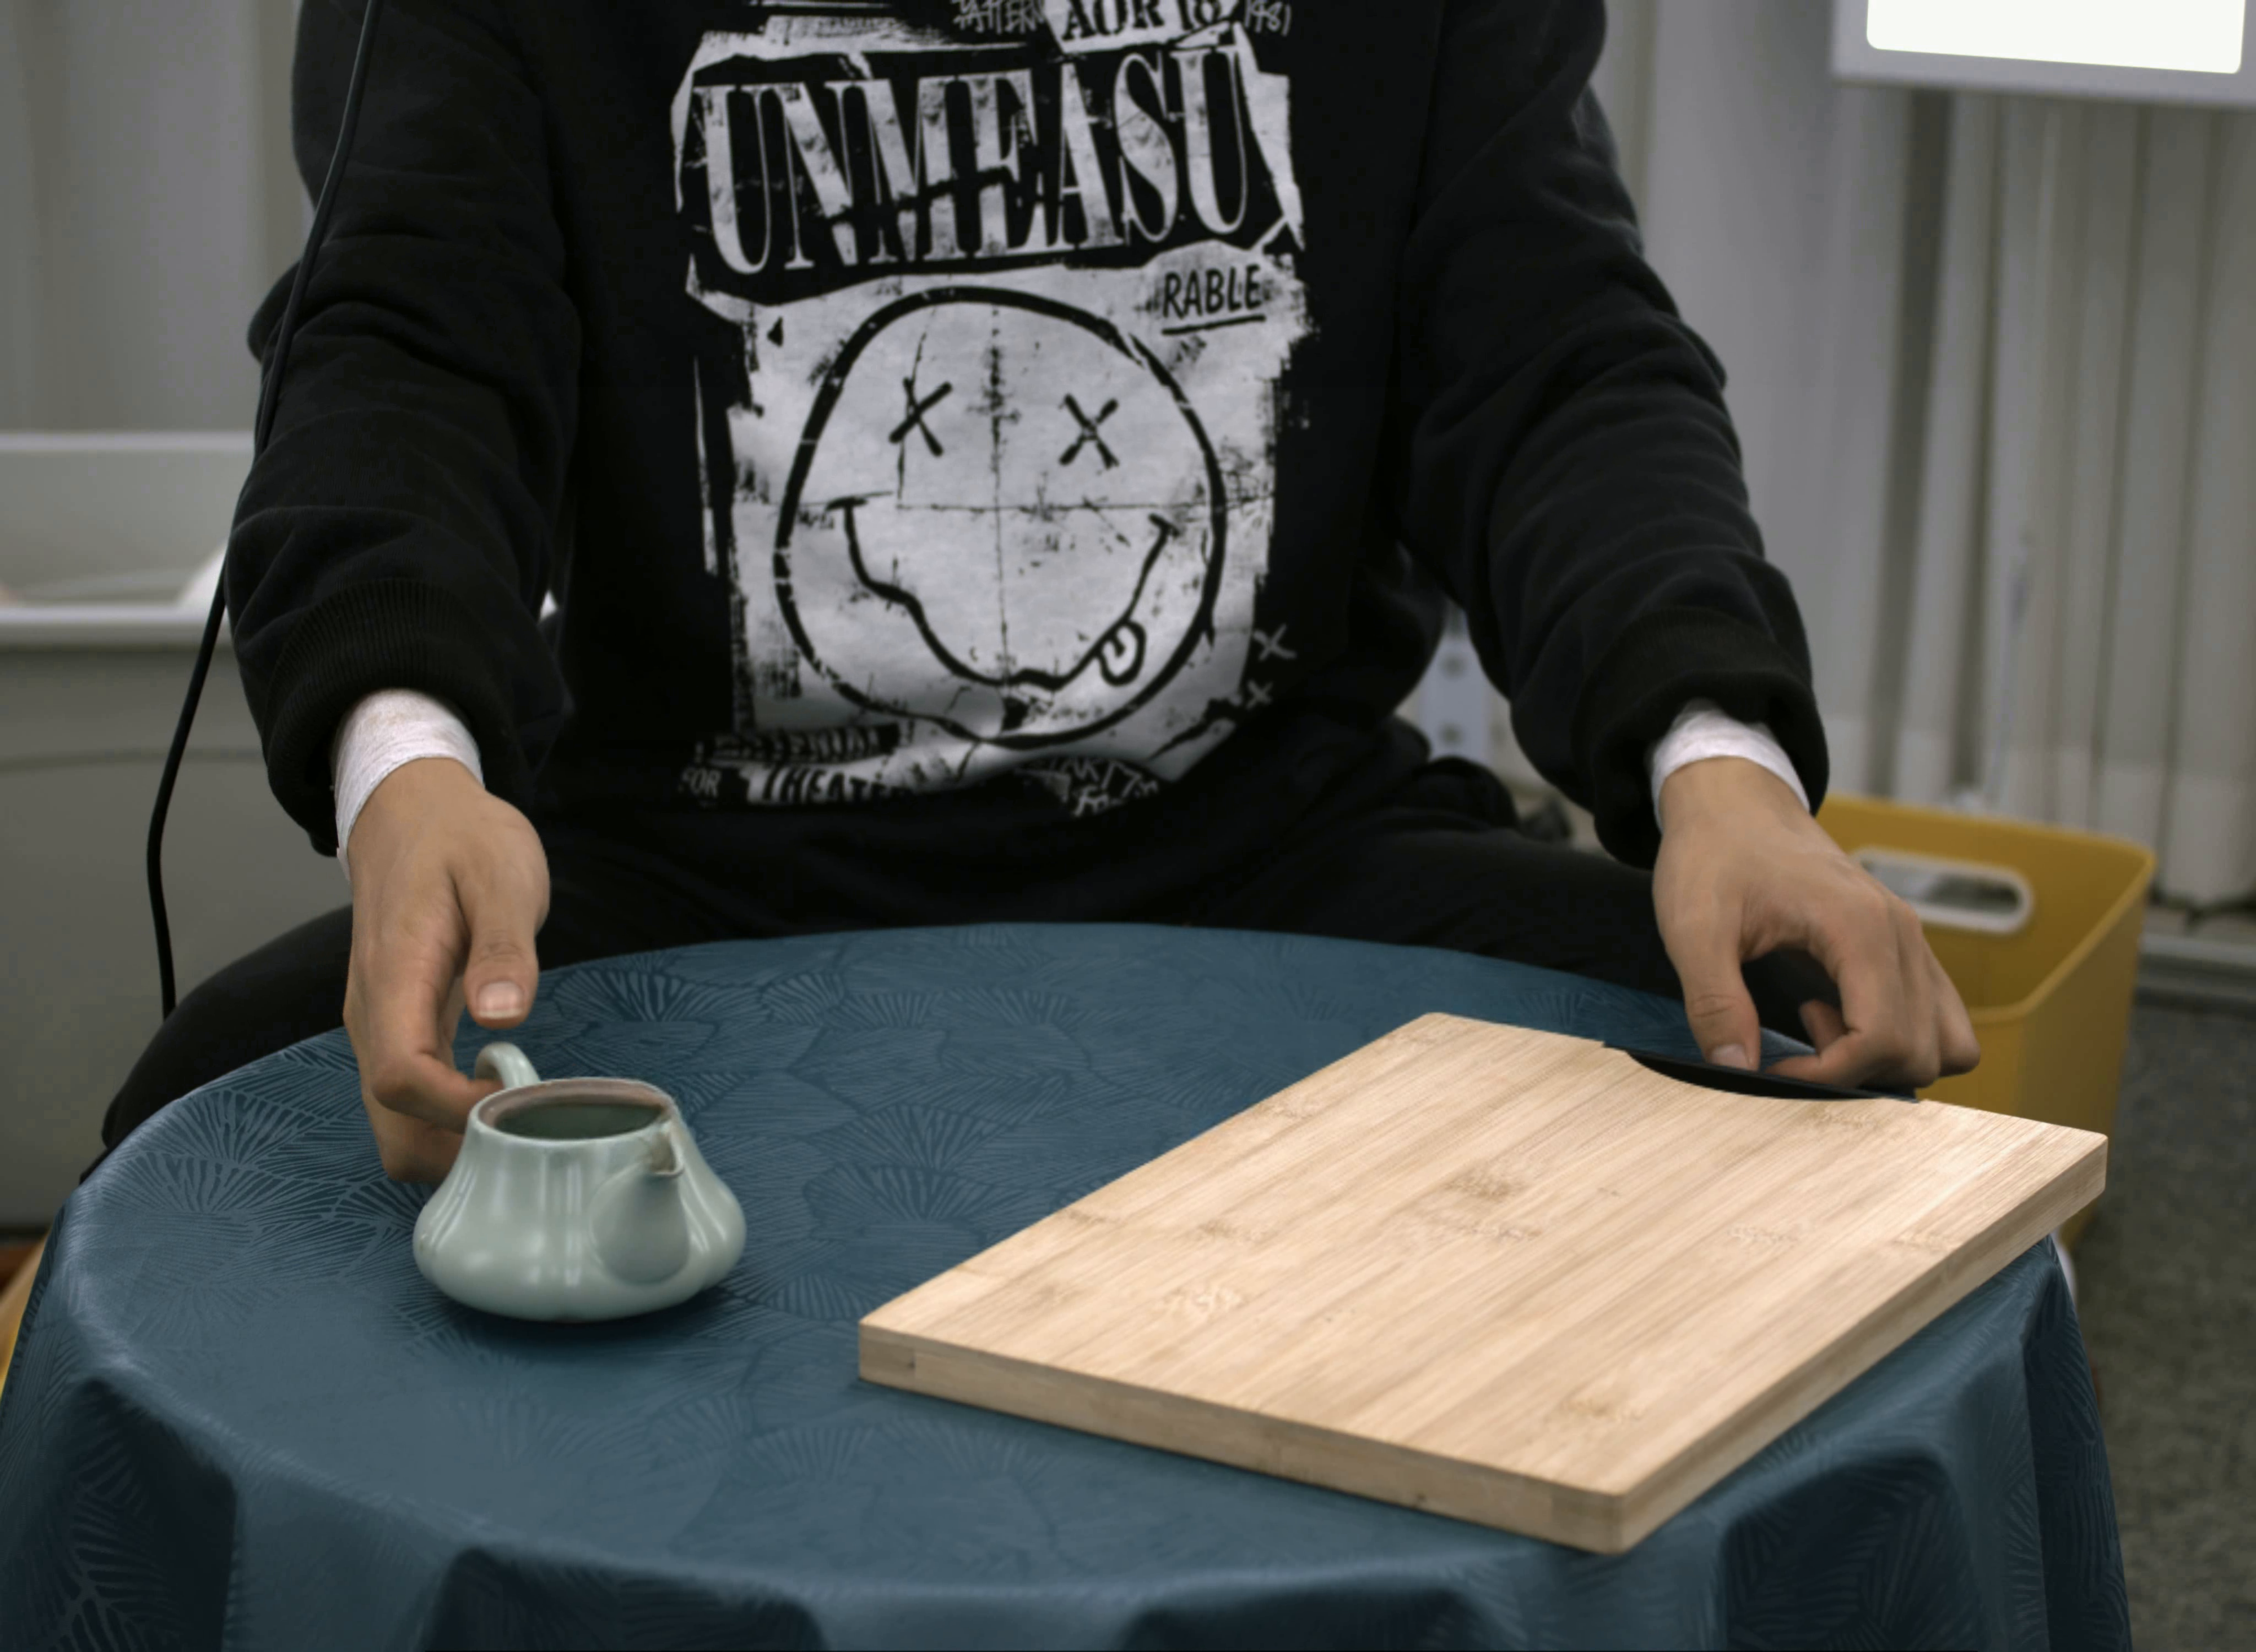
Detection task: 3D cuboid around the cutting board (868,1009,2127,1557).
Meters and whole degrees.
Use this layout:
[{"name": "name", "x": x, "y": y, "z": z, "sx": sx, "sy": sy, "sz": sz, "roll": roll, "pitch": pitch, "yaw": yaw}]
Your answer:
[{"name": "cutting board", "x": 0.117, "y": 0.124, "z": 1.553, "sx": 0.248, "sy": 0.024, "sz": 0.350, "roll": 9, "pitch": 18, "yaw": 29}]

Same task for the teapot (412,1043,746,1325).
[{"name": "teapot", "x": -0.162, "y": 0.106, "z": 1.528, "sx": 0.096, "sy": 0.062, "sz": 0.135, "roll": -11, "pitch": 20, "yaw": -31}]
